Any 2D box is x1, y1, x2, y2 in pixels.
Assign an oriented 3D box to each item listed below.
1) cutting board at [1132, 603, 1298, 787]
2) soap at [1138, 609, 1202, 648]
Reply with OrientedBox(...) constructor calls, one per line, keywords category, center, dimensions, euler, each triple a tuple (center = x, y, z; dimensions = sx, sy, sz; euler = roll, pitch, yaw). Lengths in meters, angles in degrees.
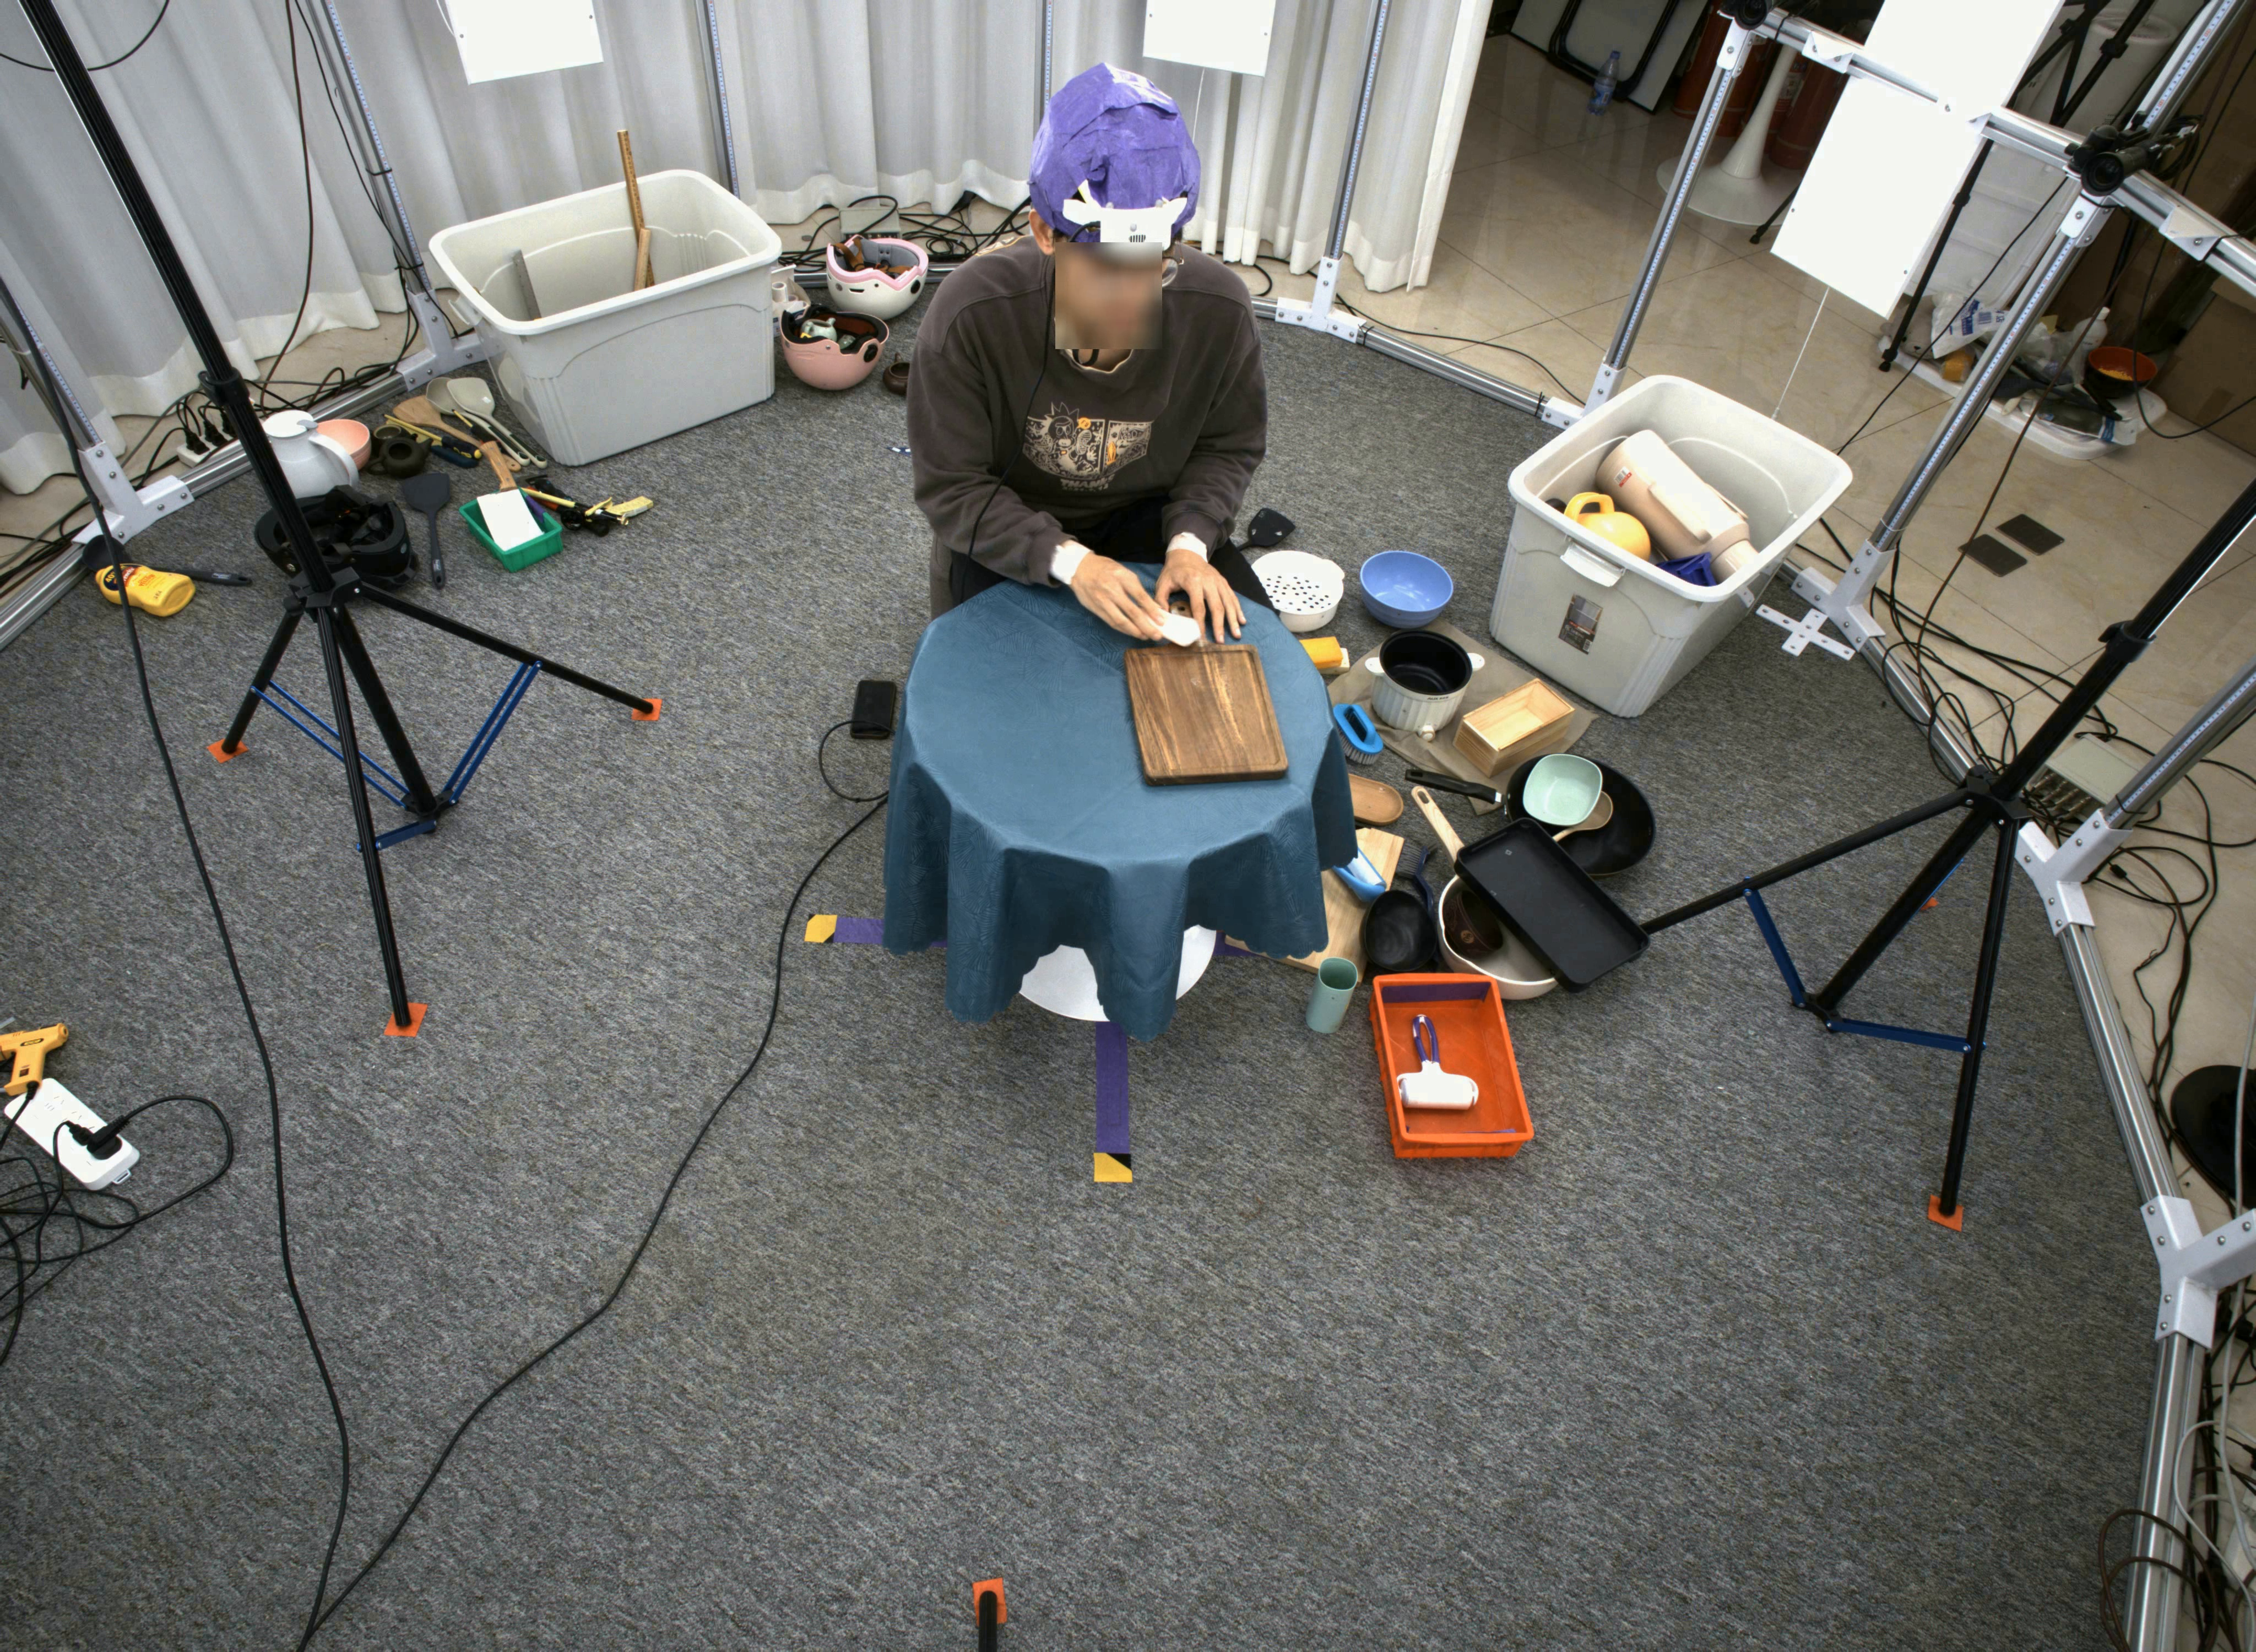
OrientedBox(category="cutting board", center=(0.113, -0.197, 1.830), dimensions=(0.201, 0.022, 0.361), euler=(-3, 49, -6))
OrientedBox(category="soap", center=(0.061, -0.289, 1.873), dimensions=(0.095, 0.029, 0.051), euler=(20, 50, 10))
